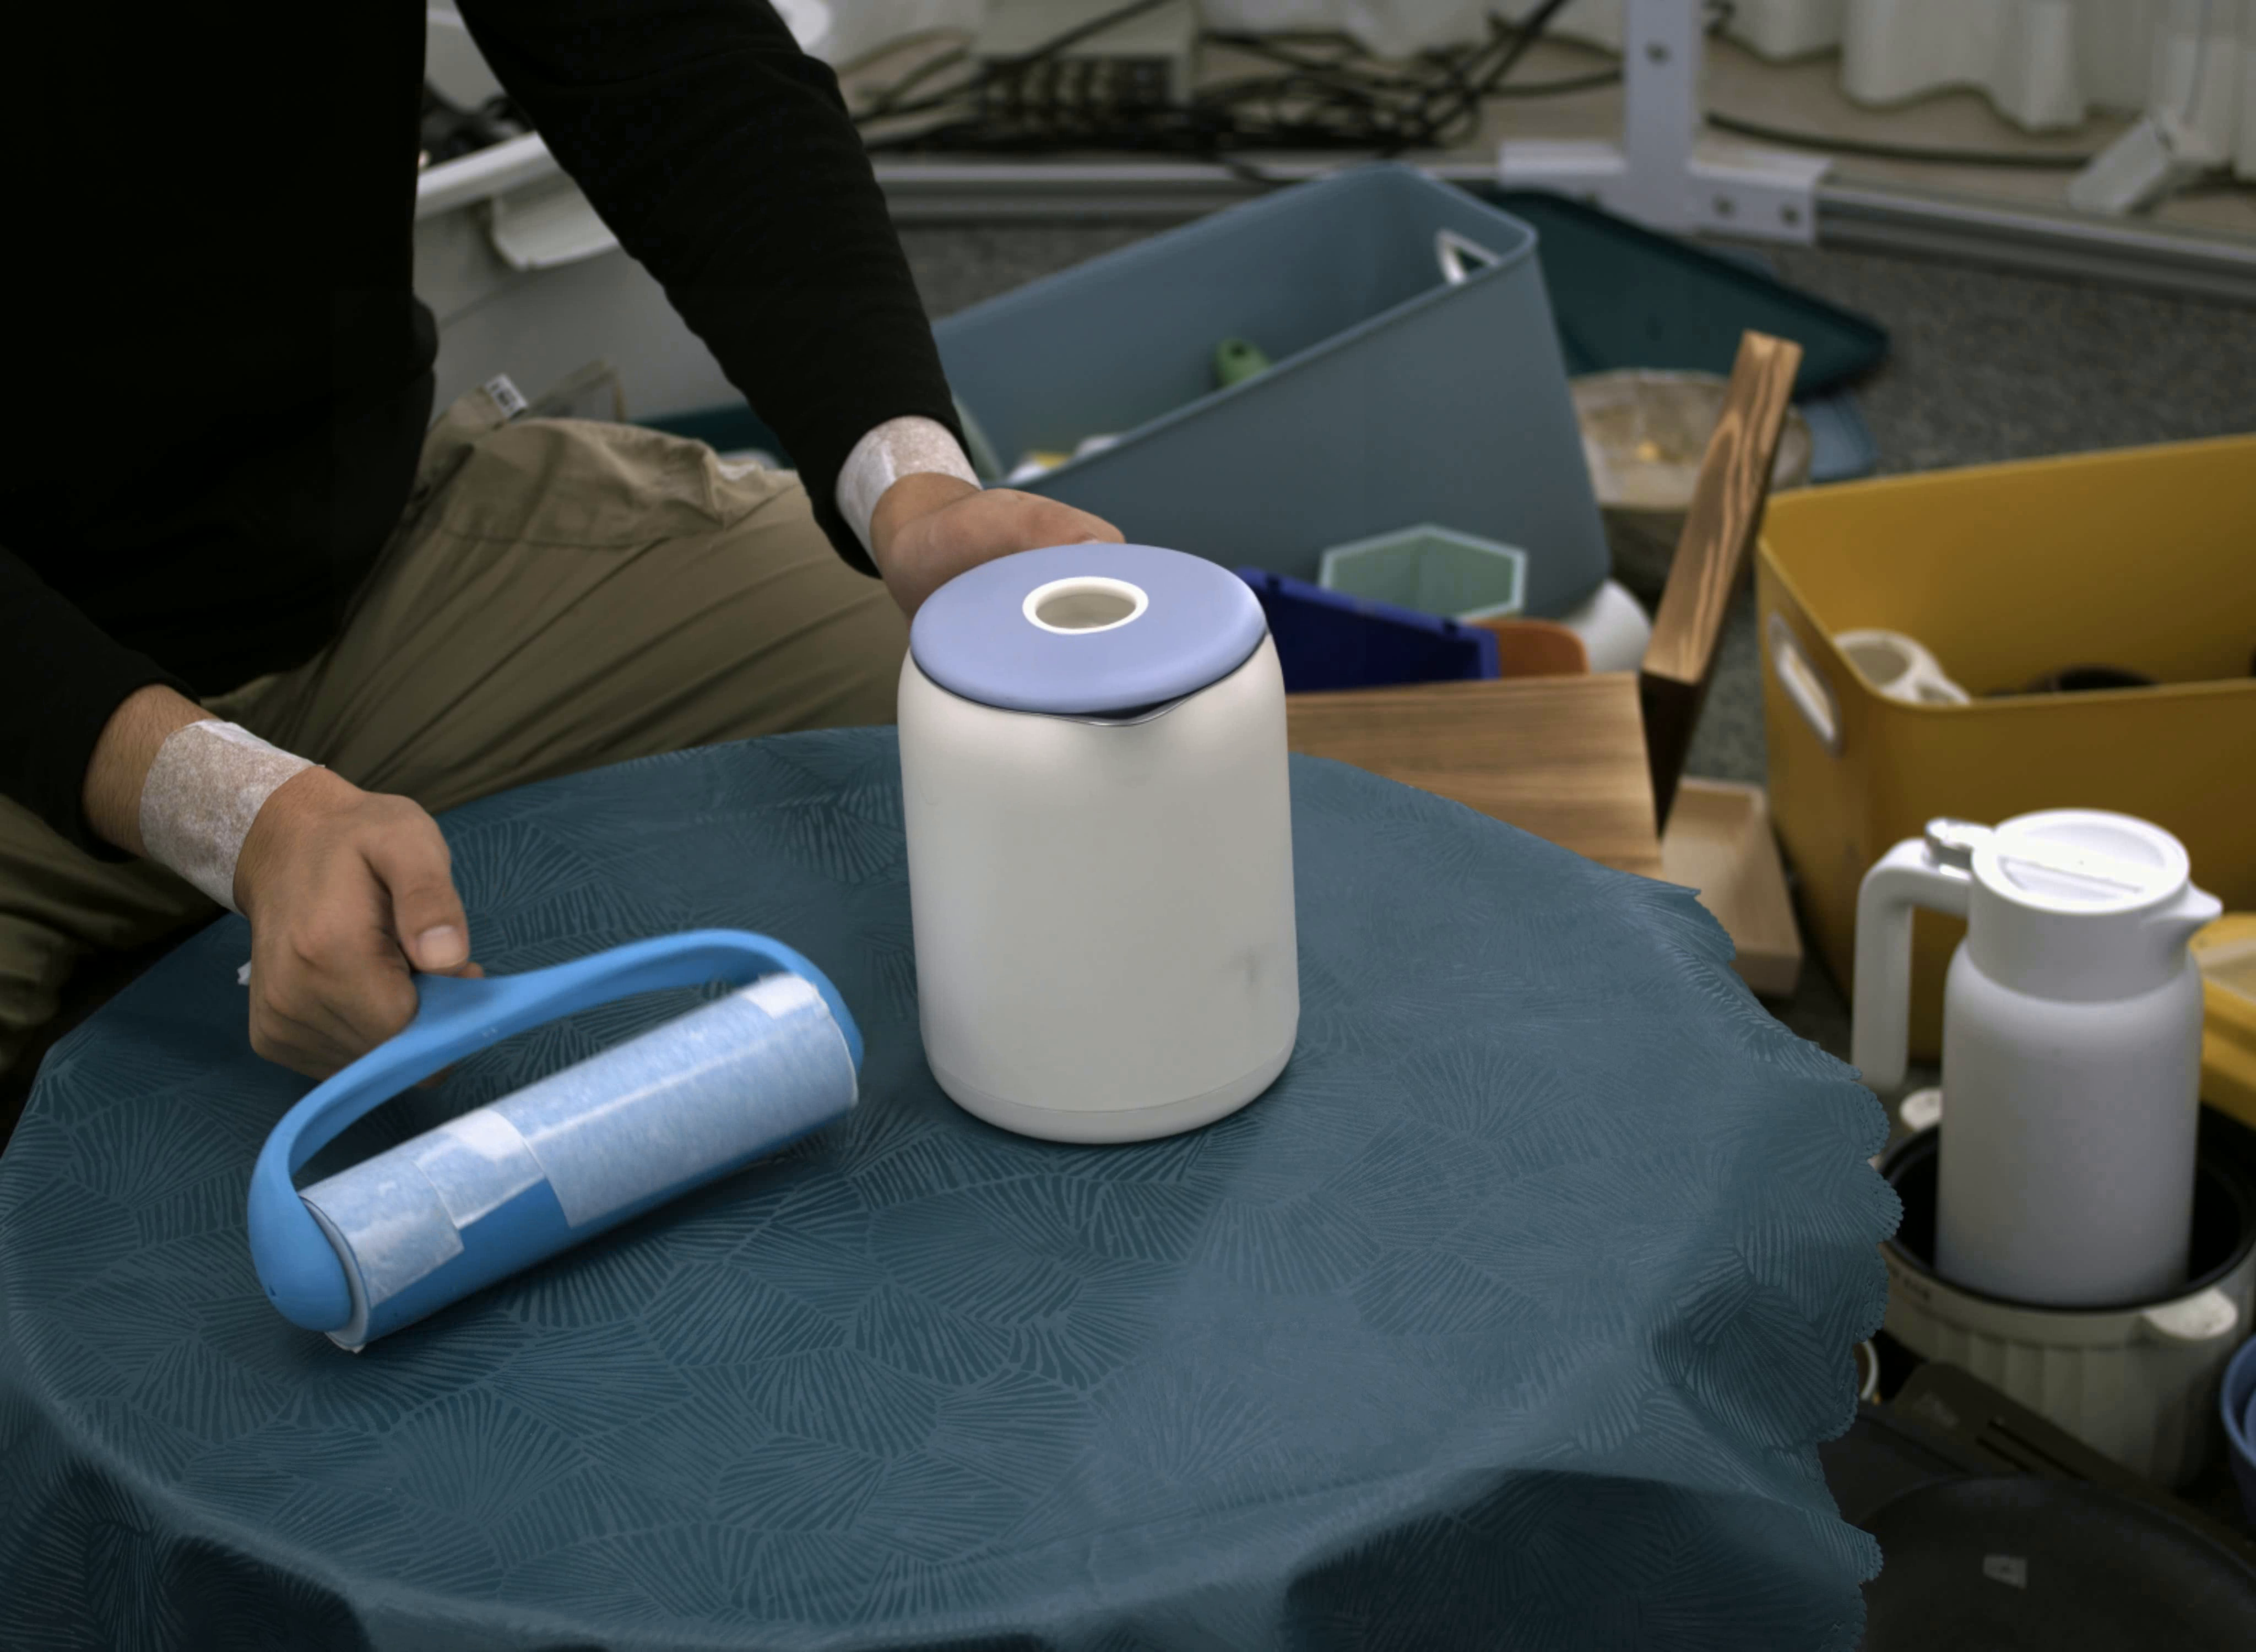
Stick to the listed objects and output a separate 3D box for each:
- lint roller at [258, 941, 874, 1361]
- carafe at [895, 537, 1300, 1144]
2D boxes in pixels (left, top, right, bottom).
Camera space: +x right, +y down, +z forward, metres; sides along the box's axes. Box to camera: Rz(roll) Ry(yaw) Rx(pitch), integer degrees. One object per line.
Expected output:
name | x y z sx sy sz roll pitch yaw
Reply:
lint roller | -0.218 0.085 1.878 0.231 0.067 0.181 -27 44 -32
carafe | -0.016 -0.006 1.924 0.132 0.181 0.193 -9 26 -12
